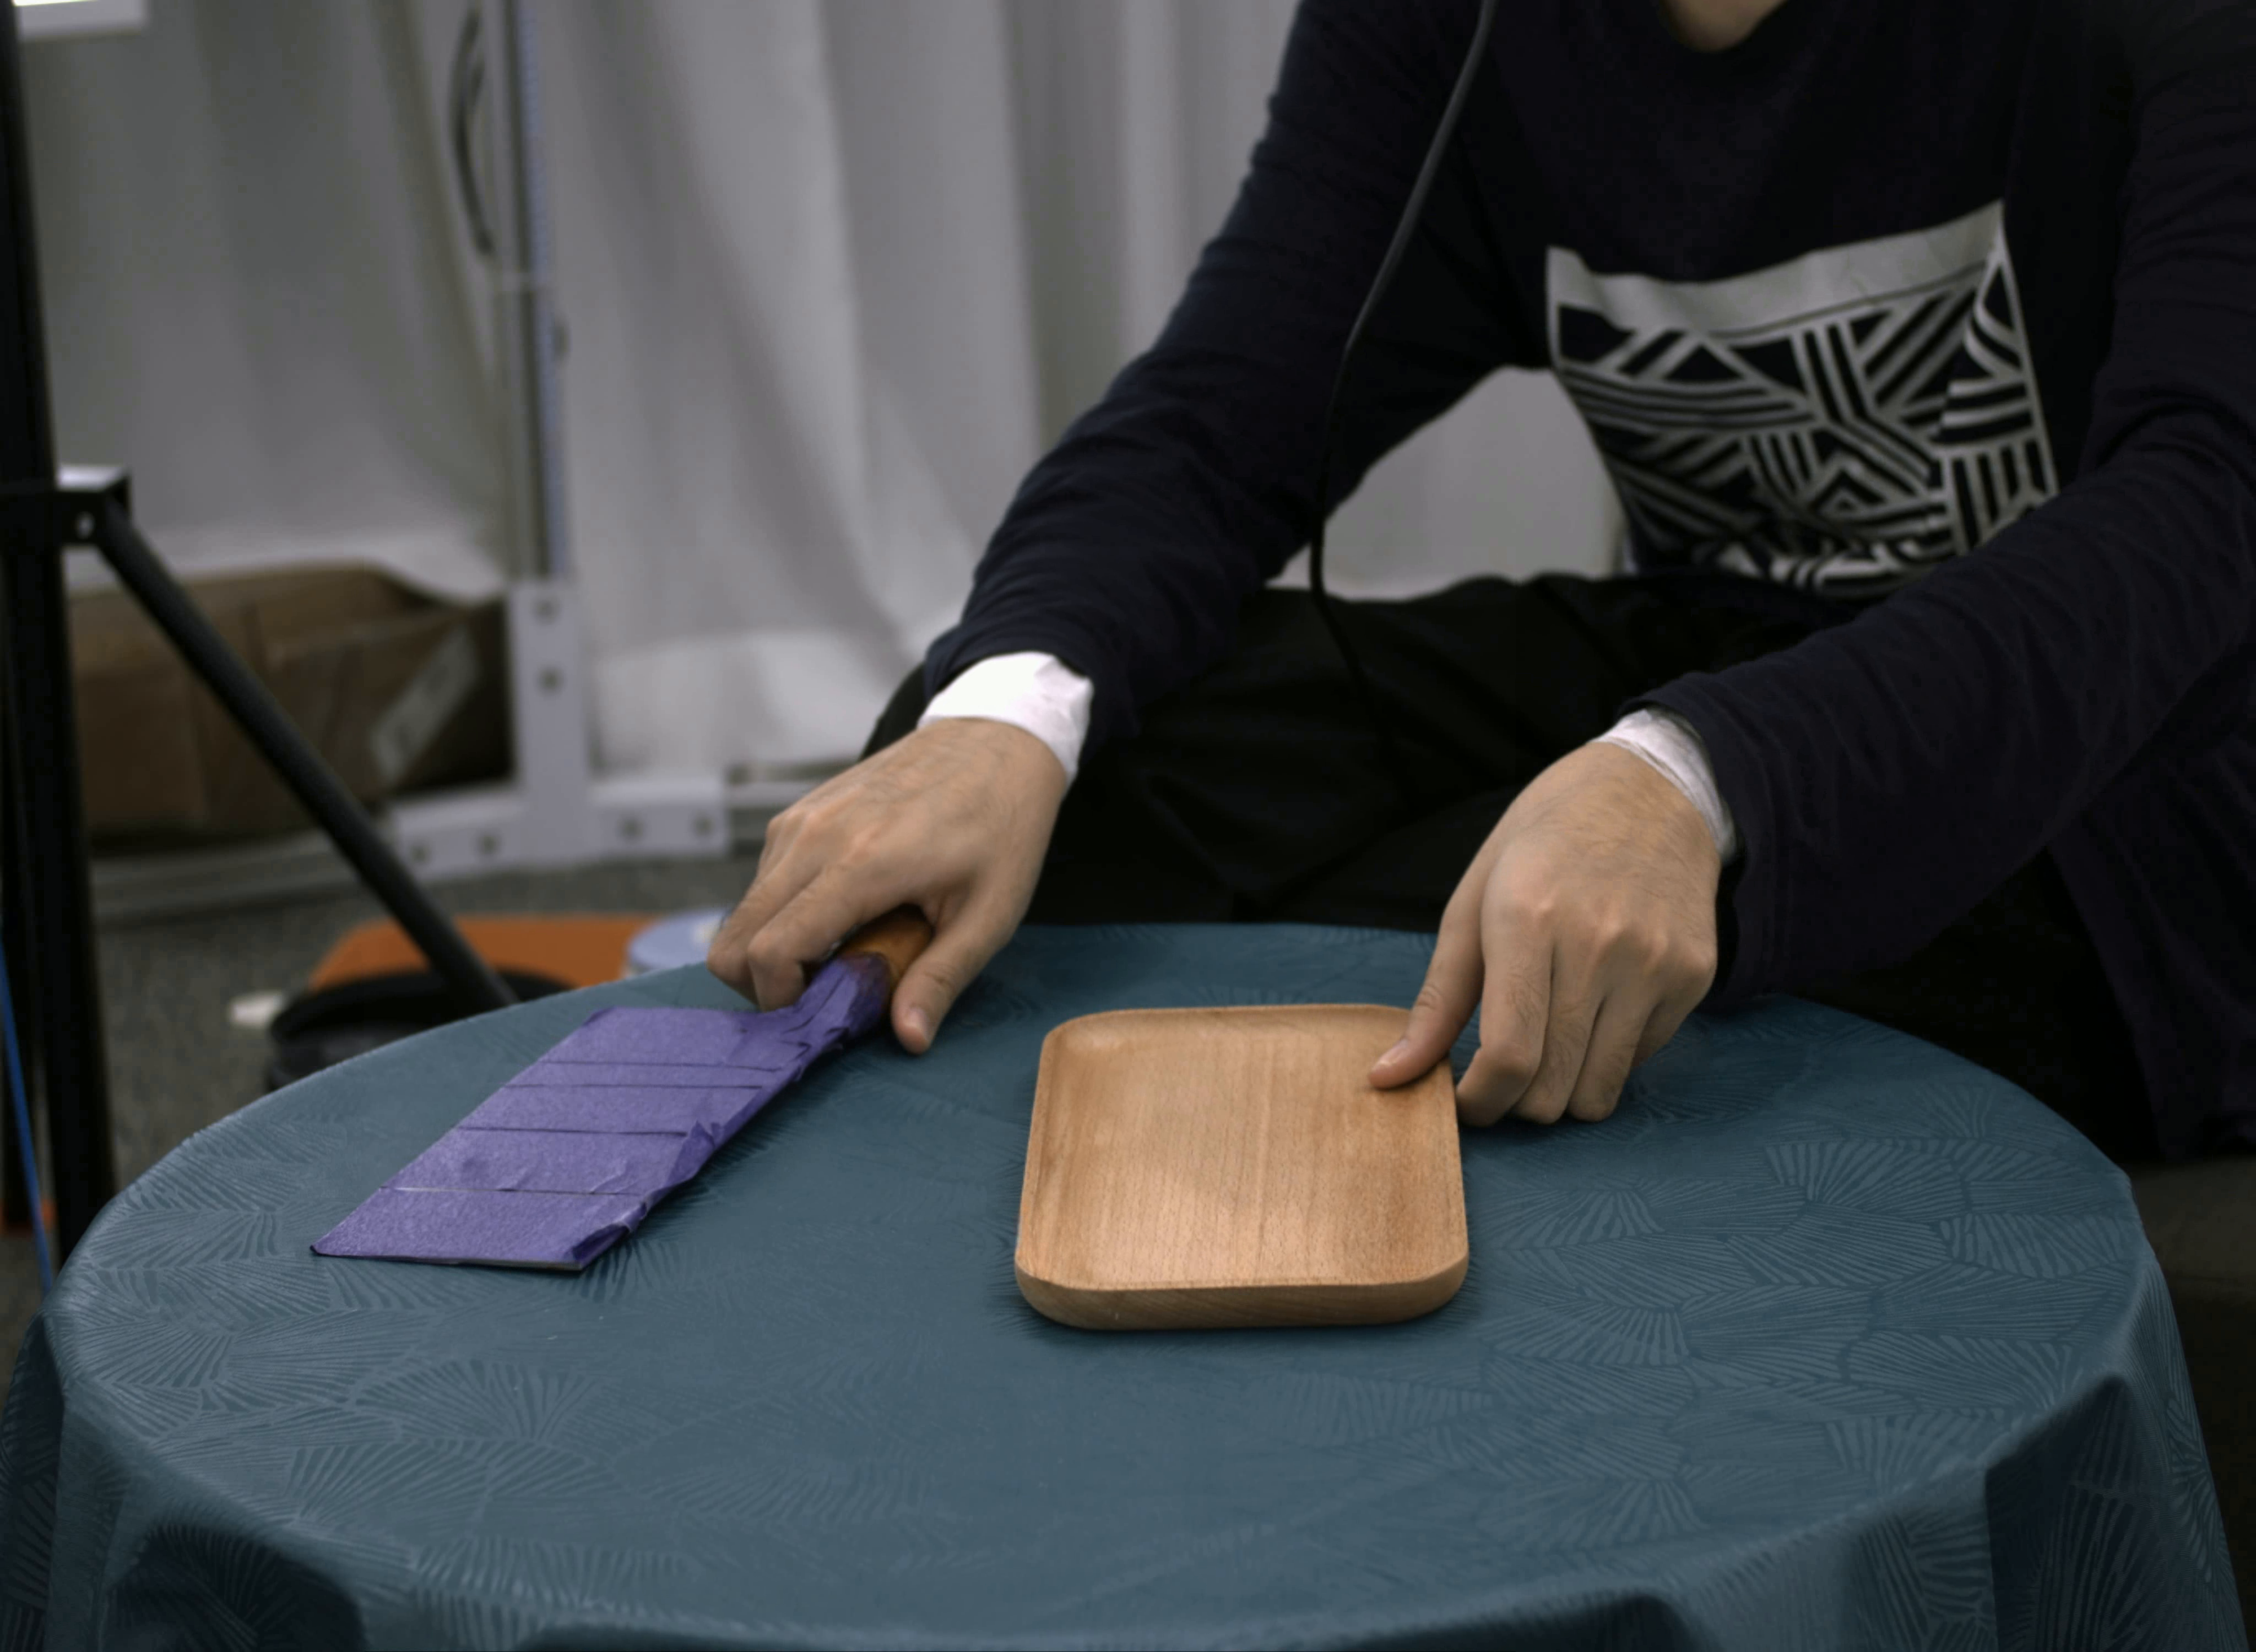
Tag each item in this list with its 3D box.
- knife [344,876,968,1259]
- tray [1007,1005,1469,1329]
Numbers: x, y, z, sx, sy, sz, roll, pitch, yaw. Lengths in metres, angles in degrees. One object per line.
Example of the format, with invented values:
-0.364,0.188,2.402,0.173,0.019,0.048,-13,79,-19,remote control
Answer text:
-0.144,0.072,1.660,0.105,0.032,0.312,2,17,19,knife
0.036,0.098,1.563,0.130,0.023,0.250,1,15,5,tray
